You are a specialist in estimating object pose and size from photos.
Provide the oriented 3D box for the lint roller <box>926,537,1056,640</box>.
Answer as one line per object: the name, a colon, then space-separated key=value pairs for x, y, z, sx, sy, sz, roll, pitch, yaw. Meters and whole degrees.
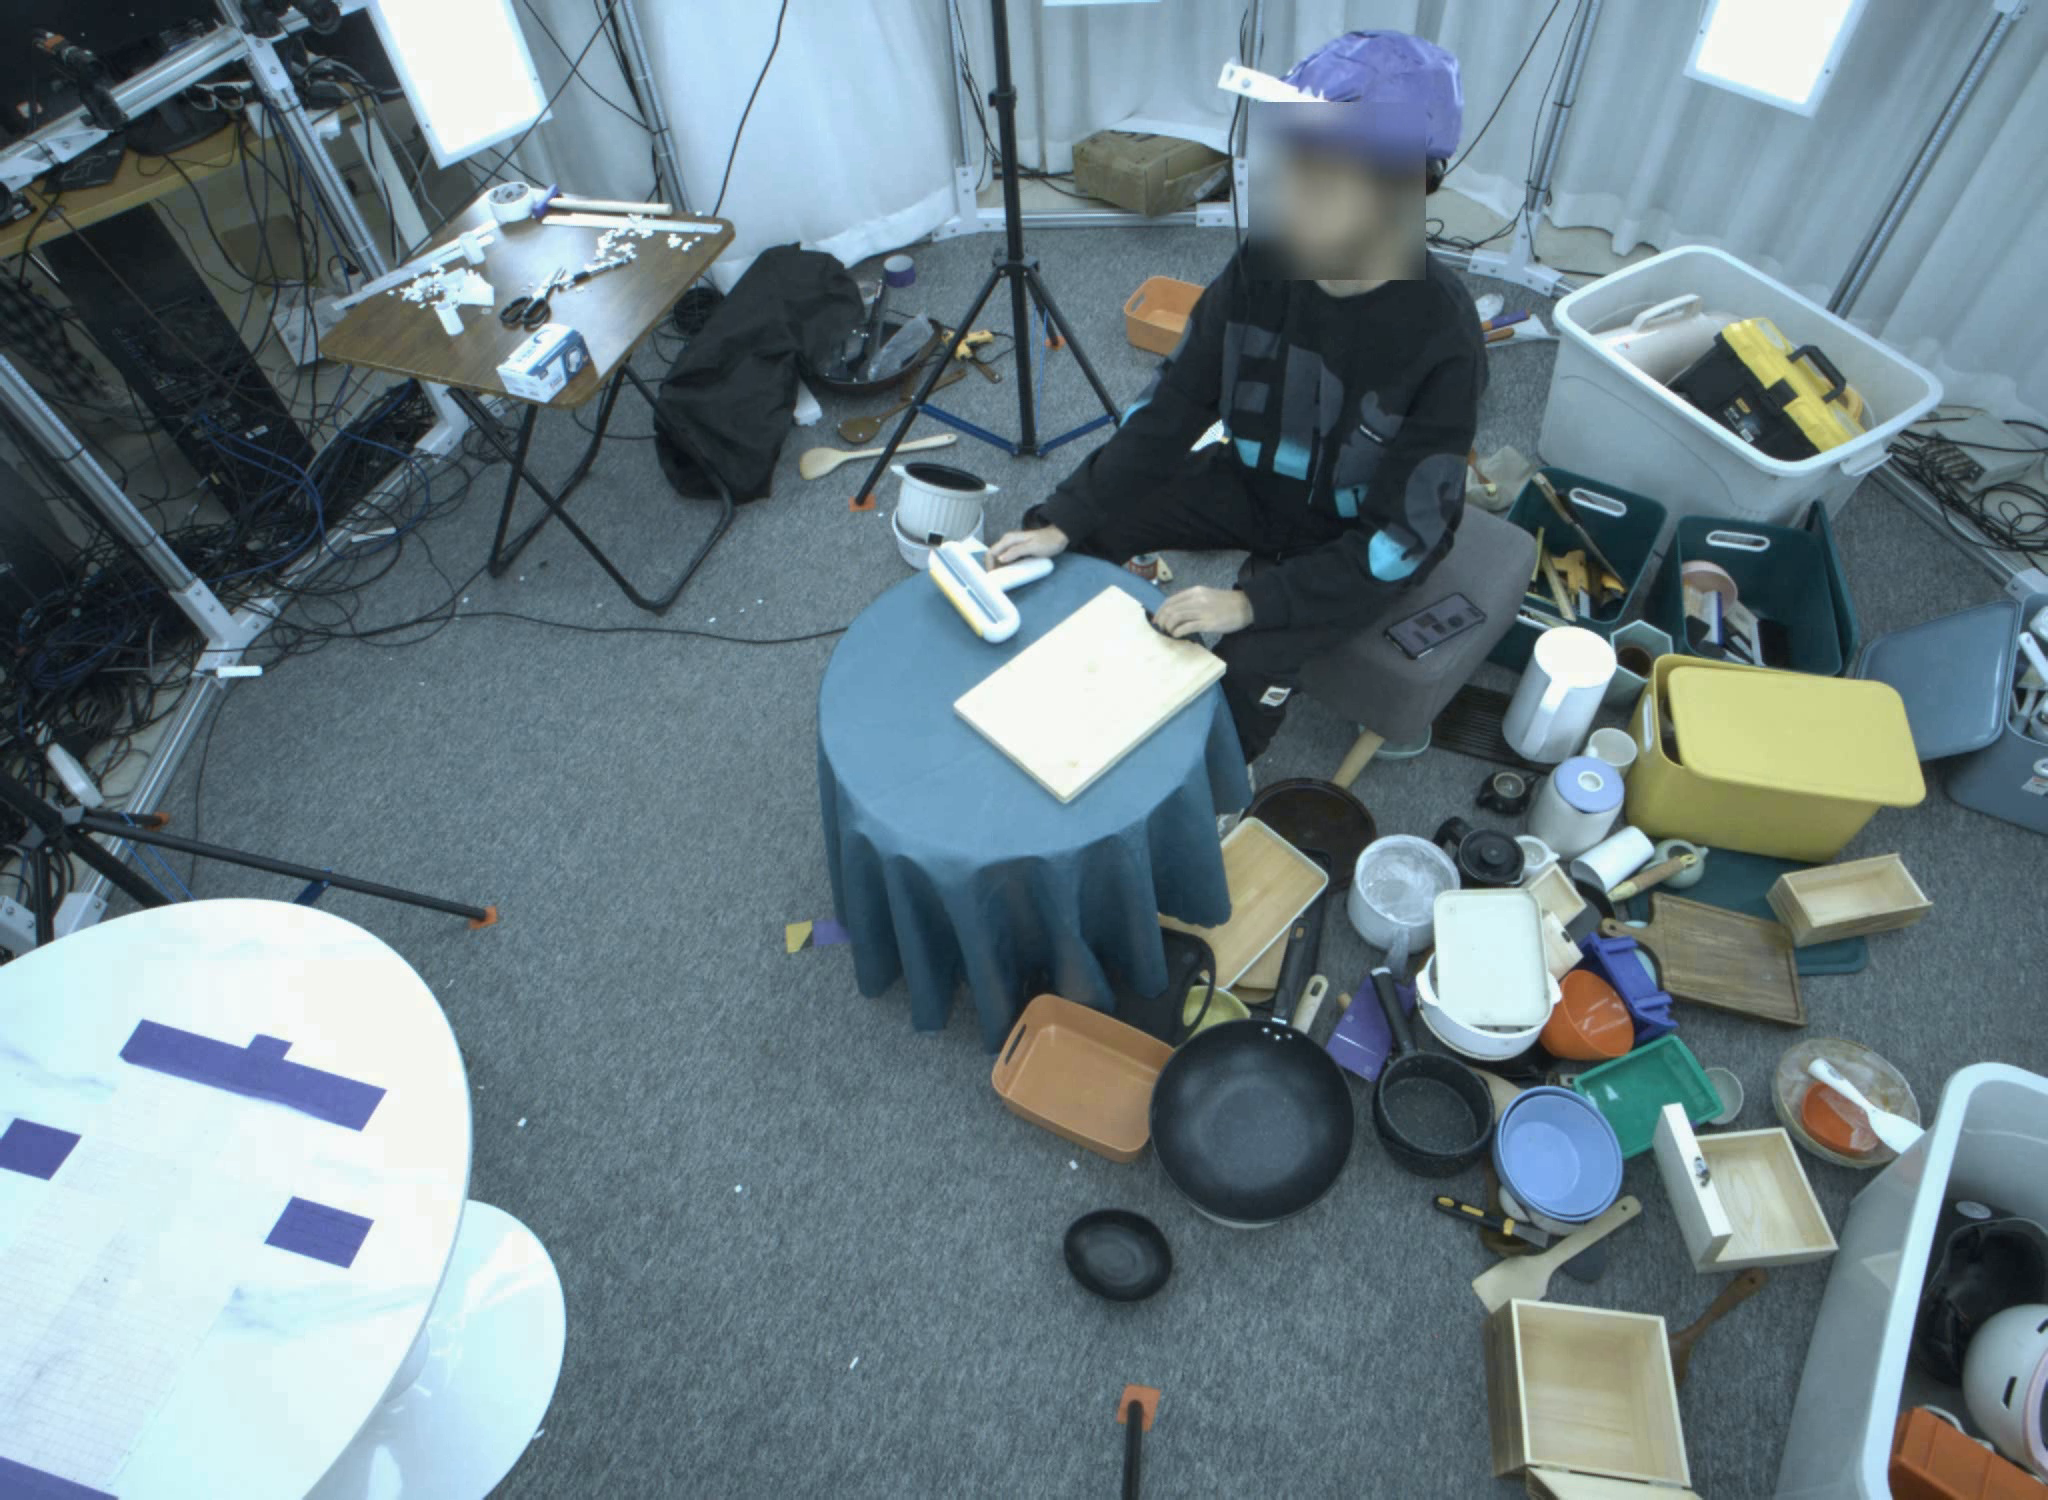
lint roller: x=-0.034 y=-0.273 z=1.937 sx=0.194 sy=0.075 sz=0.189 roll=-28 pitch=63 yaw=-18

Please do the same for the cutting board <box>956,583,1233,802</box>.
cutting board: x=0.104 y=-0.096 z=1.838 sx=0.351 sy=0.024 sz=0.246 roll=-39 pitch=62 yaw=-23
